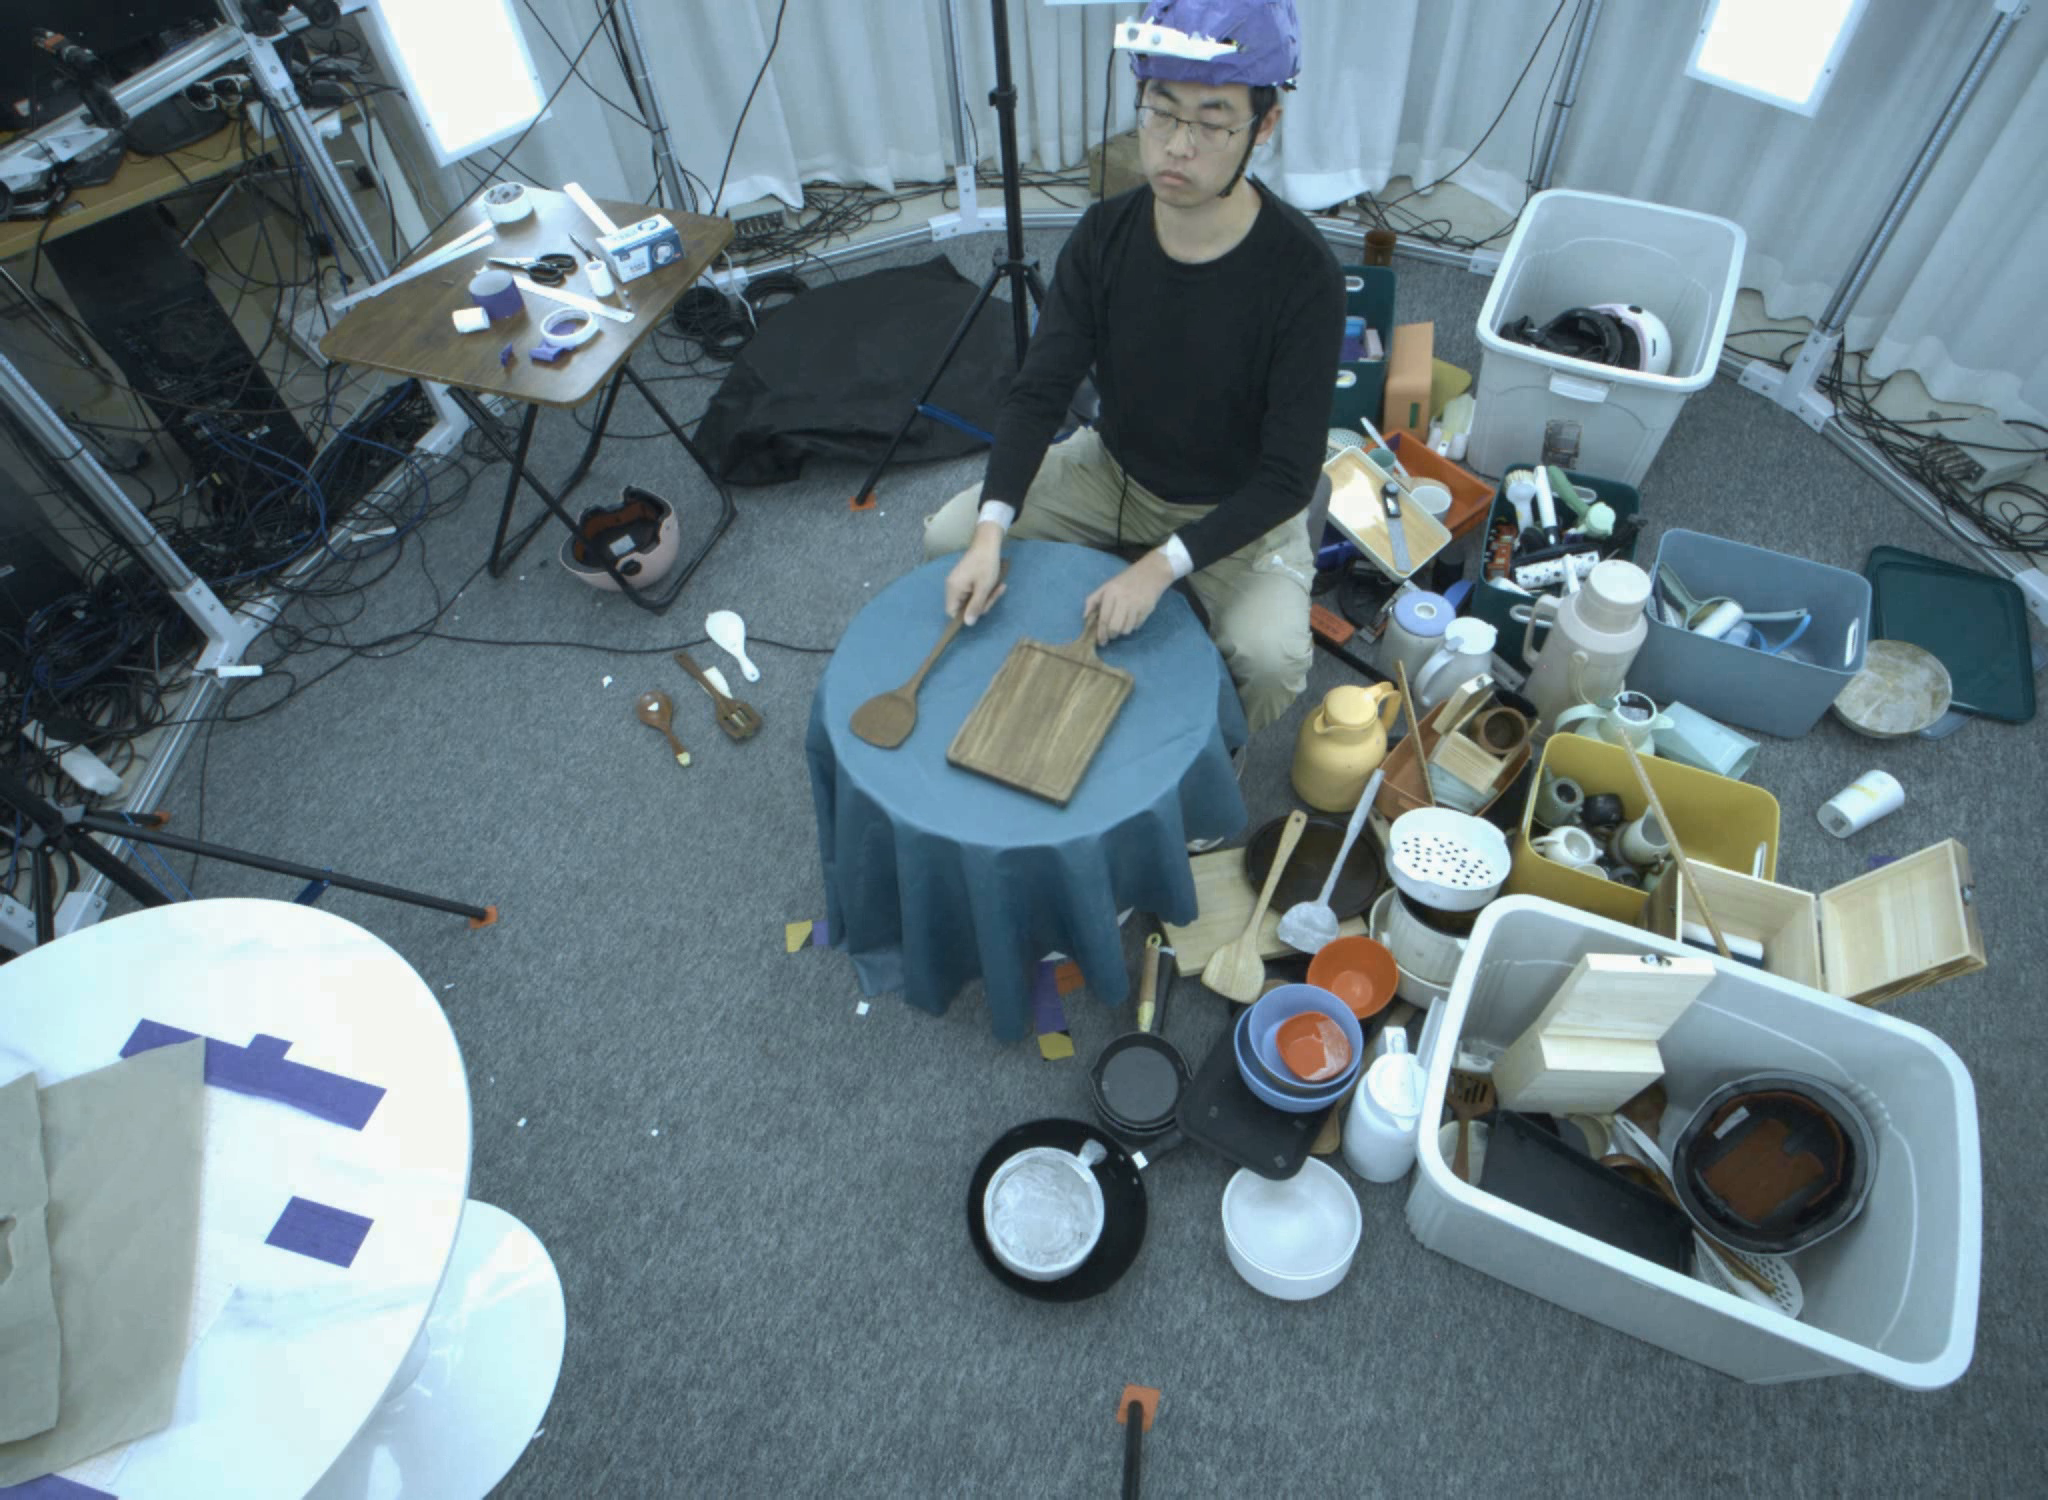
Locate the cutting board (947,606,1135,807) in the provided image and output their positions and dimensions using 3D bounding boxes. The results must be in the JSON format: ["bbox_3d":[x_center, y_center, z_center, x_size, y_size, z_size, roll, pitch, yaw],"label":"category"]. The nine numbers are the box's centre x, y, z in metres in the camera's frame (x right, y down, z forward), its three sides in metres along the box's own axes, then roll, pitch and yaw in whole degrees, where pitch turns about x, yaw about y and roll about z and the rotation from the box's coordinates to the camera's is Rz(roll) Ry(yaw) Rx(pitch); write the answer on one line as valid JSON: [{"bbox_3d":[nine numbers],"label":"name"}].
[{"bbox_3d":[0.049,-0.085,1.829,0.198,0.023,0.352,21,59,16],"label":"cutting board"}]

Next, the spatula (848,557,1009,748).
[{"bbox_3d":[-0.131,-0.159,1.877,0.095,0.016,0.386,26,67,19],"label":"spatula"}]
